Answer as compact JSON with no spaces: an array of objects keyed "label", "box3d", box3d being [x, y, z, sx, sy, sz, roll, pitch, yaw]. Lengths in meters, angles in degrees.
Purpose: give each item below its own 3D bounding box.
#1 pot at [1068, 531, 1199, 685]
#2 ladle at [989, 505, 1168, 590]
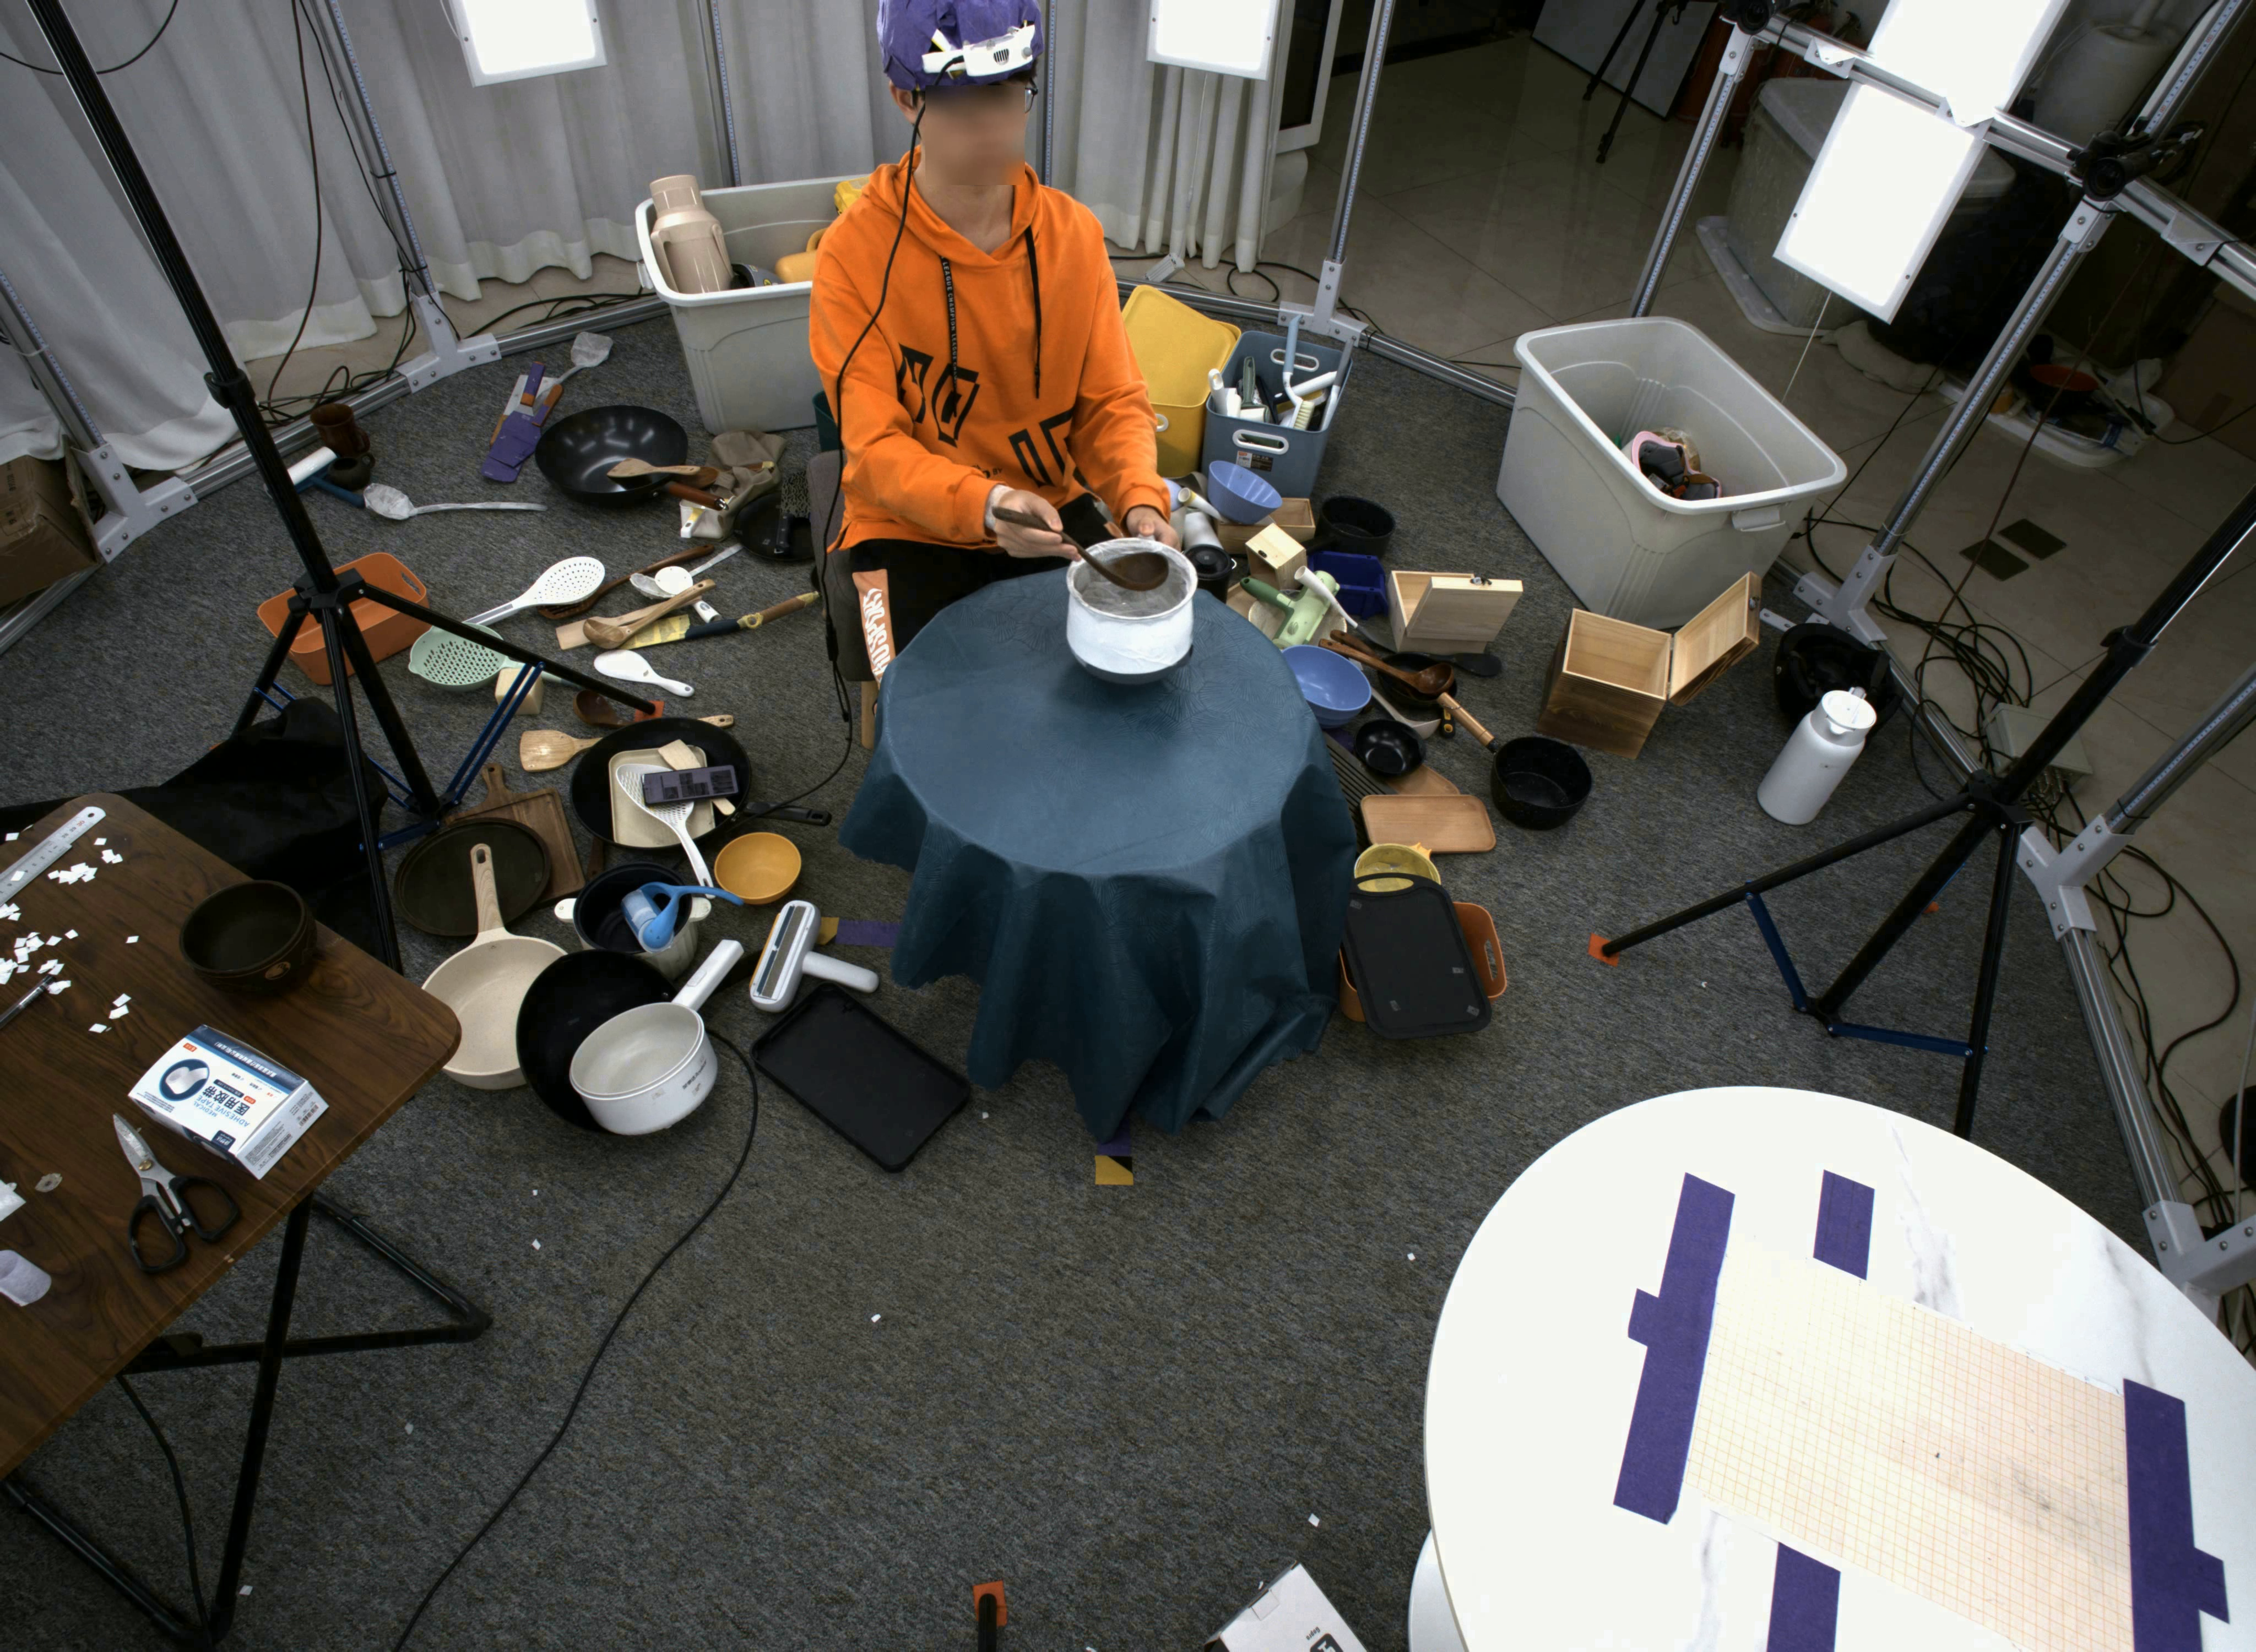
[{"label":"pot","box3d":[0.011,-0.313,1.799,0.179,0.133,0.239,7,47,5]},{"label":"ladle","box3d":[-0.057,-0.380,1.687,0.270,0.071,0.078,22,22,-42]}]
